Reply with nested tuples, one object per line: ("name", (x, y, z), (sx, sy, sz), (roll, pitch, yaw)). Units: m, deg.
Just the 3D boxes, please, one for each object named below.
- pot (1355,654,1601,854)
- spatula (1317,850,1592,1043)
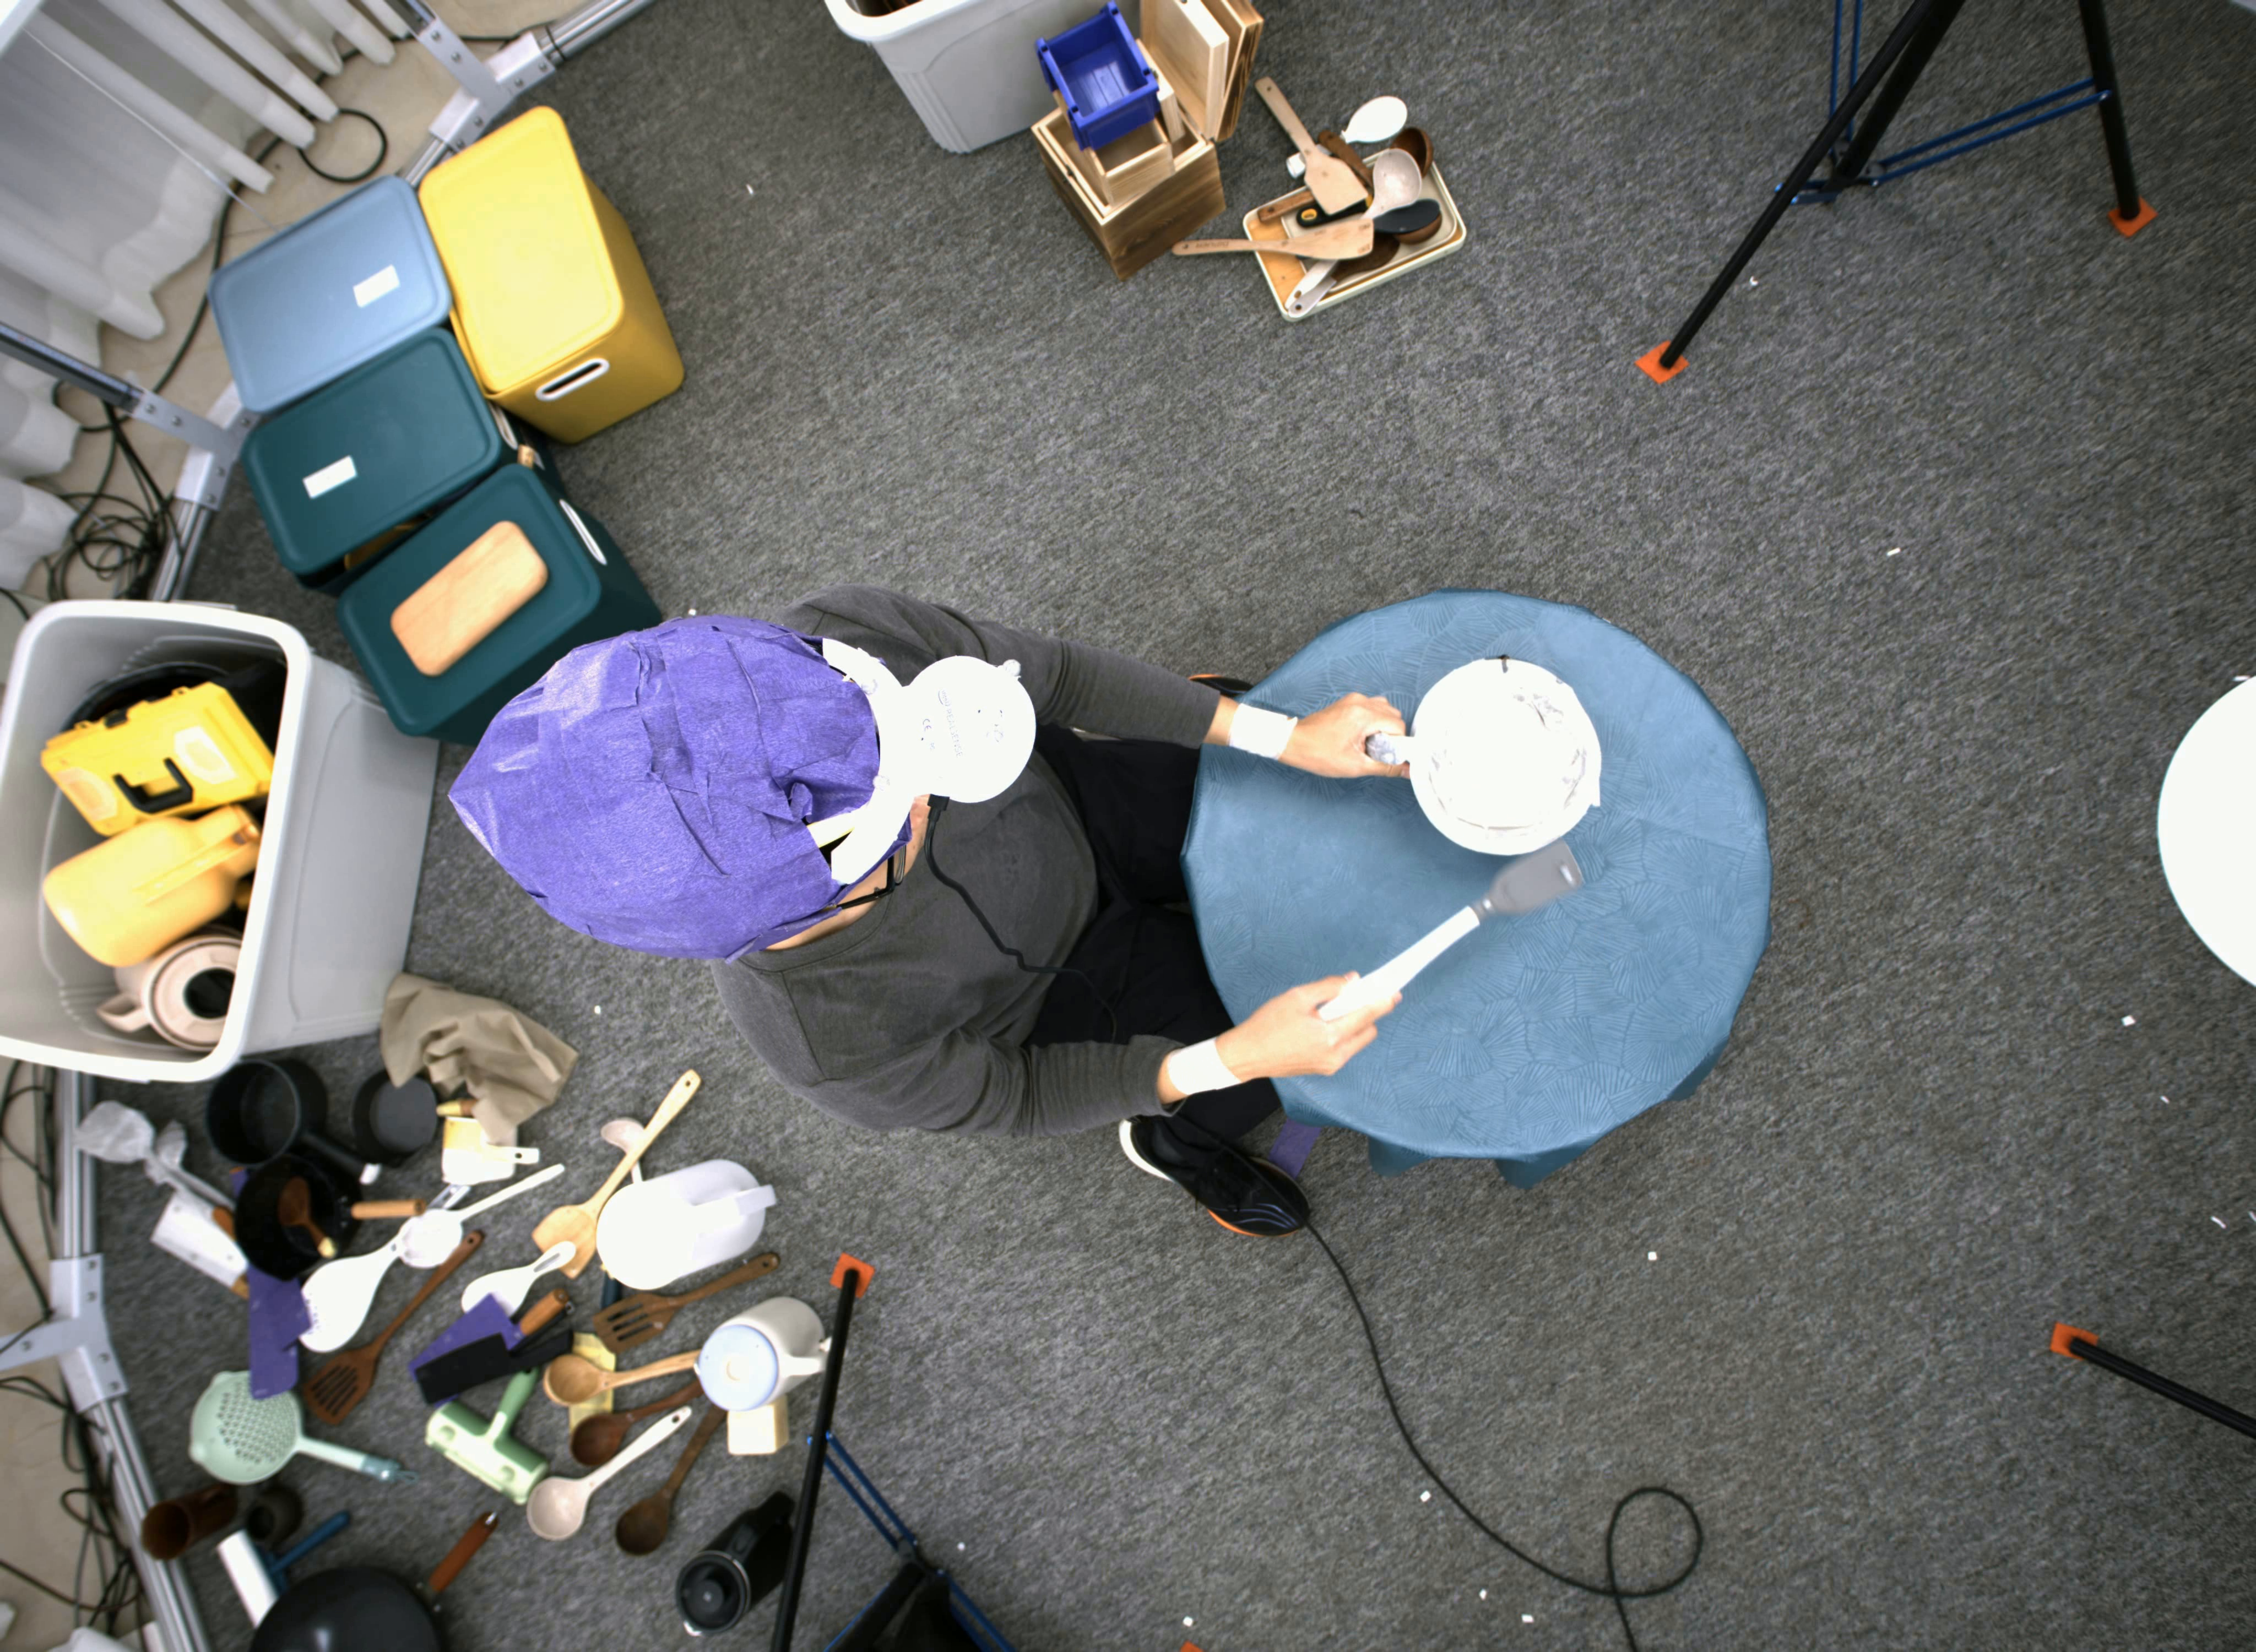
("pot", (0.343, -0.080, 1.367), (0.234, 0.134, 0.181), (5, 107, 10))
("spatula", (0.303, 0.111, 1.282), (0.287, 0.032, 0.059), (-31, 103, -4))
